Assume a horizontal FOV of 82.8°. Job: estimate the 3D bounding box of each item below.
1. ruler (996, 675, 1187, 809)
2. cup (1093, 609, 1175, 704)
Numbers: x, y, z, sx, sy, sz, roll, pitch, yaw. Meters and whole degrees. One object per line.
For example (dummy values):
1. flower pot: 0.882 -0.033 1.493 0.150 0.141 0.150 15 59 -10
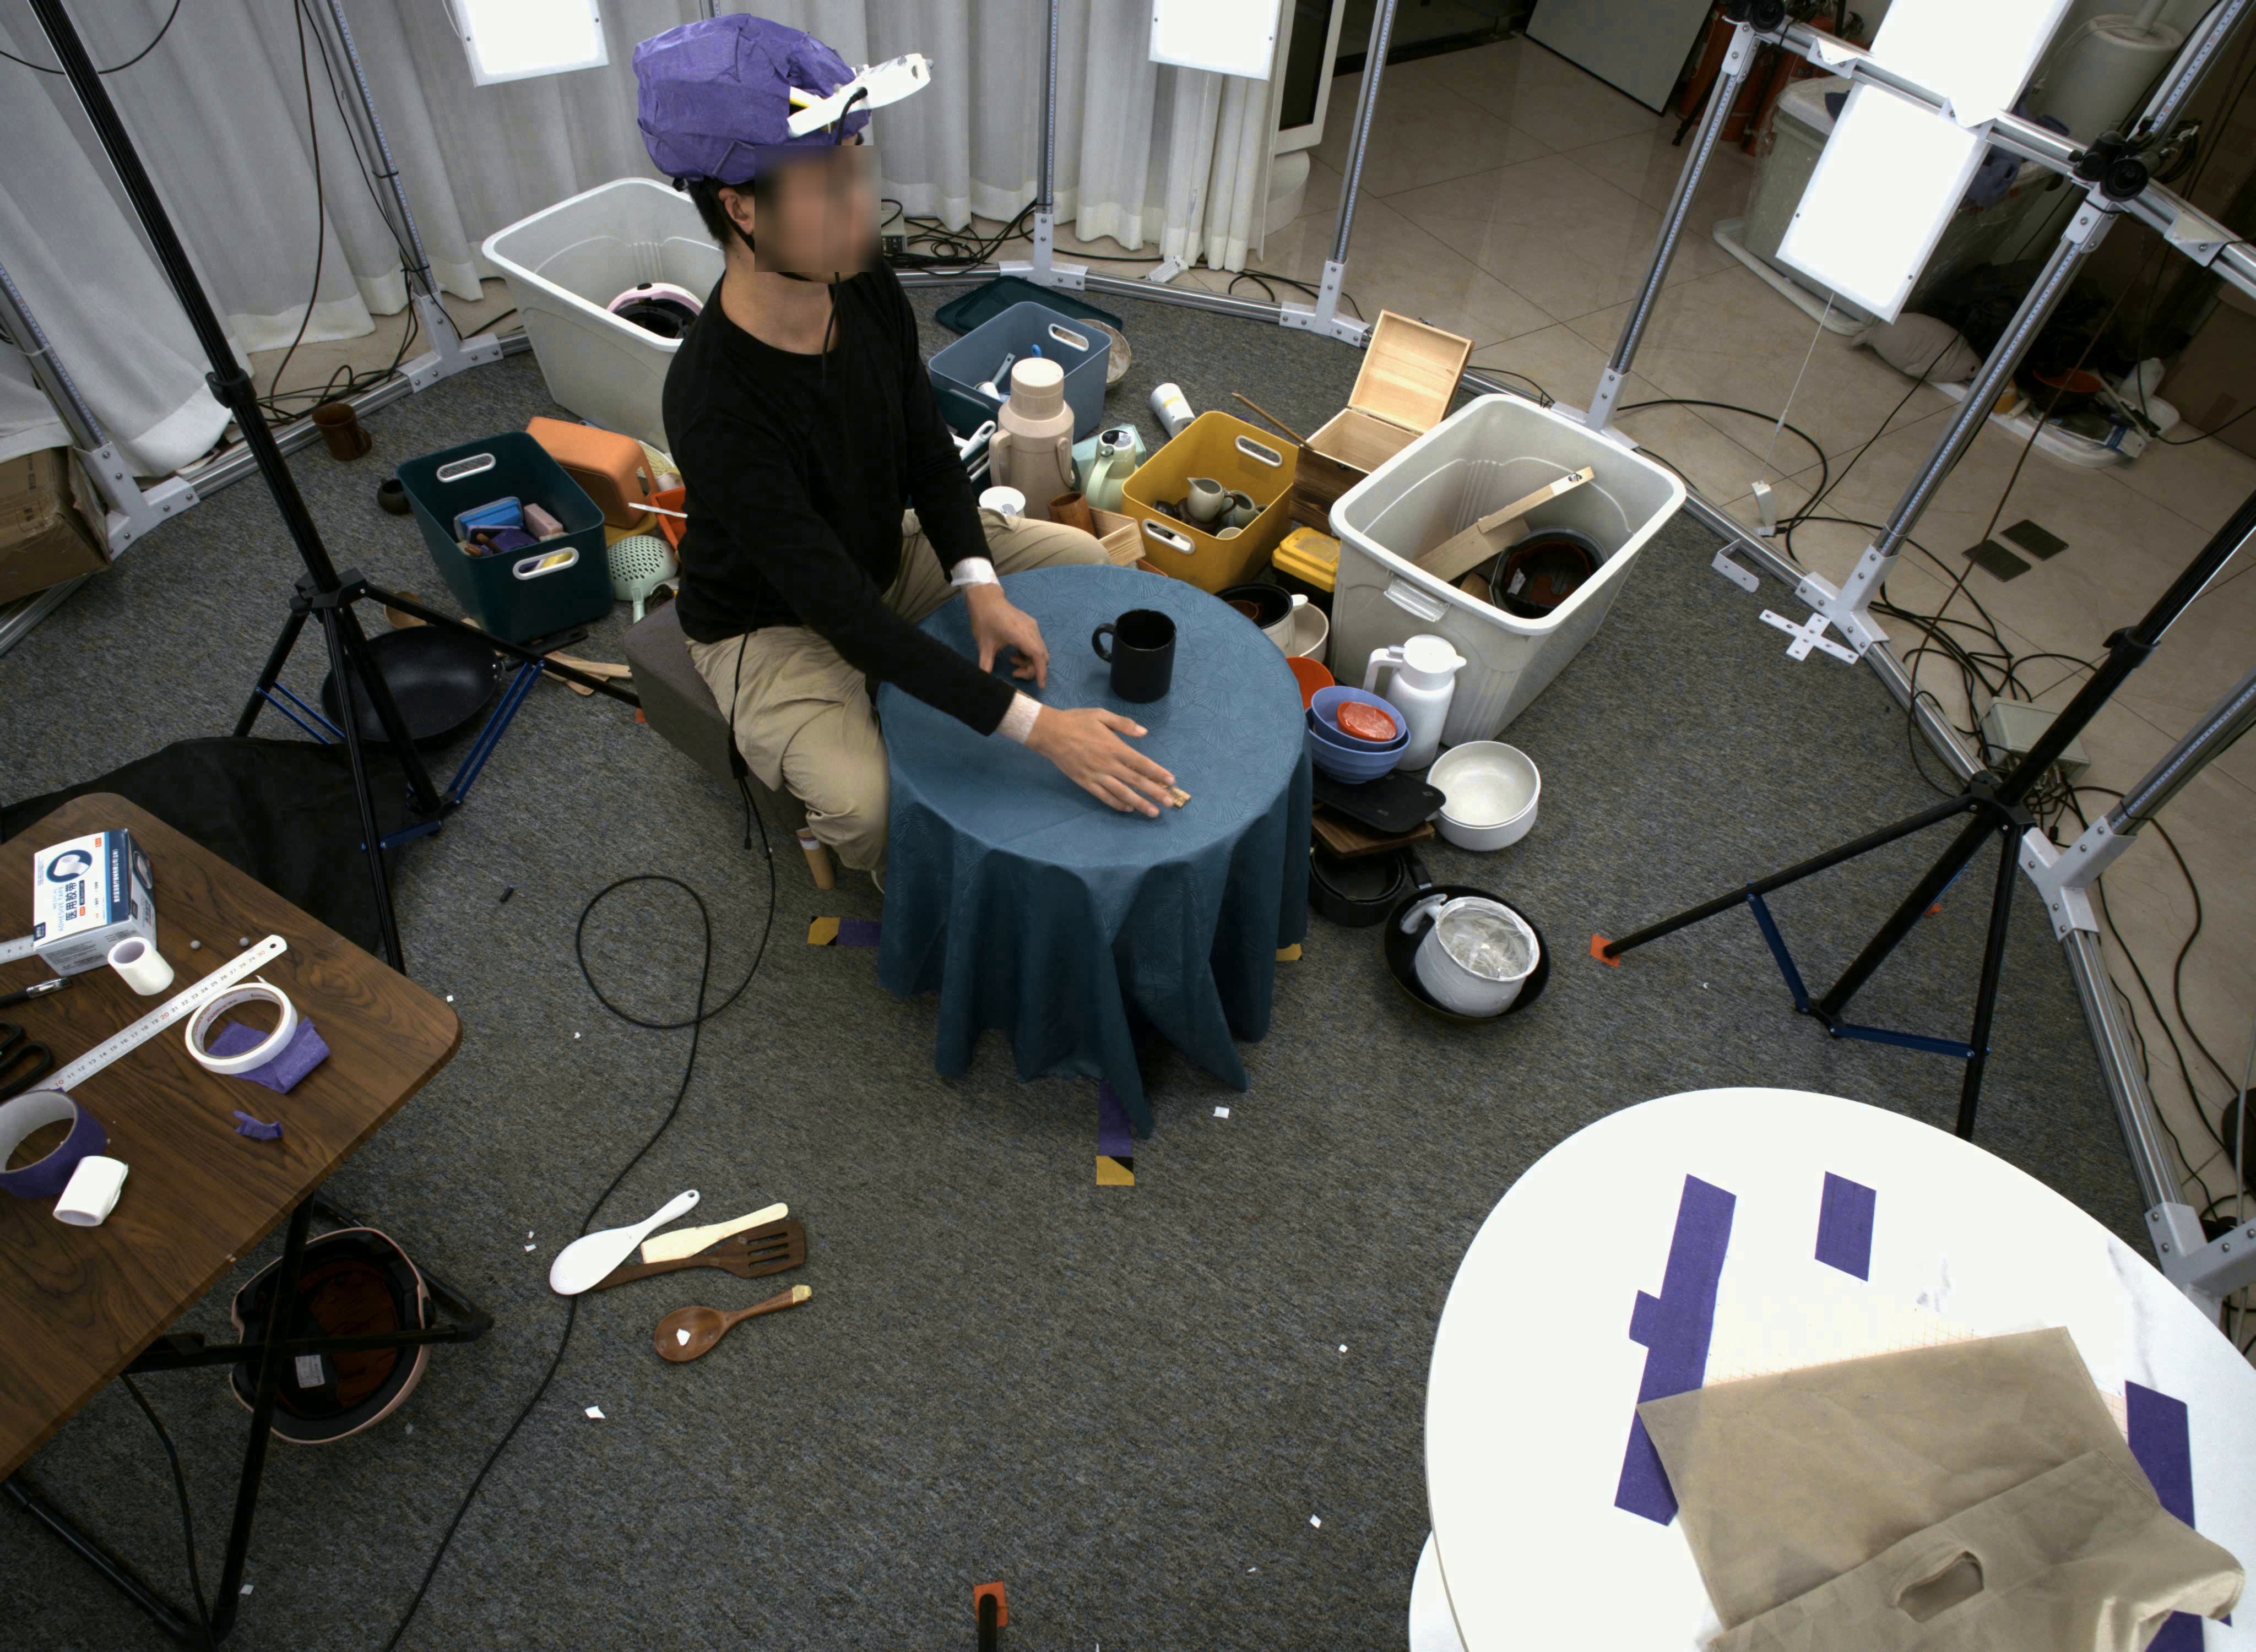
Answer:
1. ruler: -0.054 -0.121 1.764 0.336 0.021 0.028 36 52 23
2. cup: 0.005 -0.247 1.818 0.124 0.103 0.090 24 54 17
